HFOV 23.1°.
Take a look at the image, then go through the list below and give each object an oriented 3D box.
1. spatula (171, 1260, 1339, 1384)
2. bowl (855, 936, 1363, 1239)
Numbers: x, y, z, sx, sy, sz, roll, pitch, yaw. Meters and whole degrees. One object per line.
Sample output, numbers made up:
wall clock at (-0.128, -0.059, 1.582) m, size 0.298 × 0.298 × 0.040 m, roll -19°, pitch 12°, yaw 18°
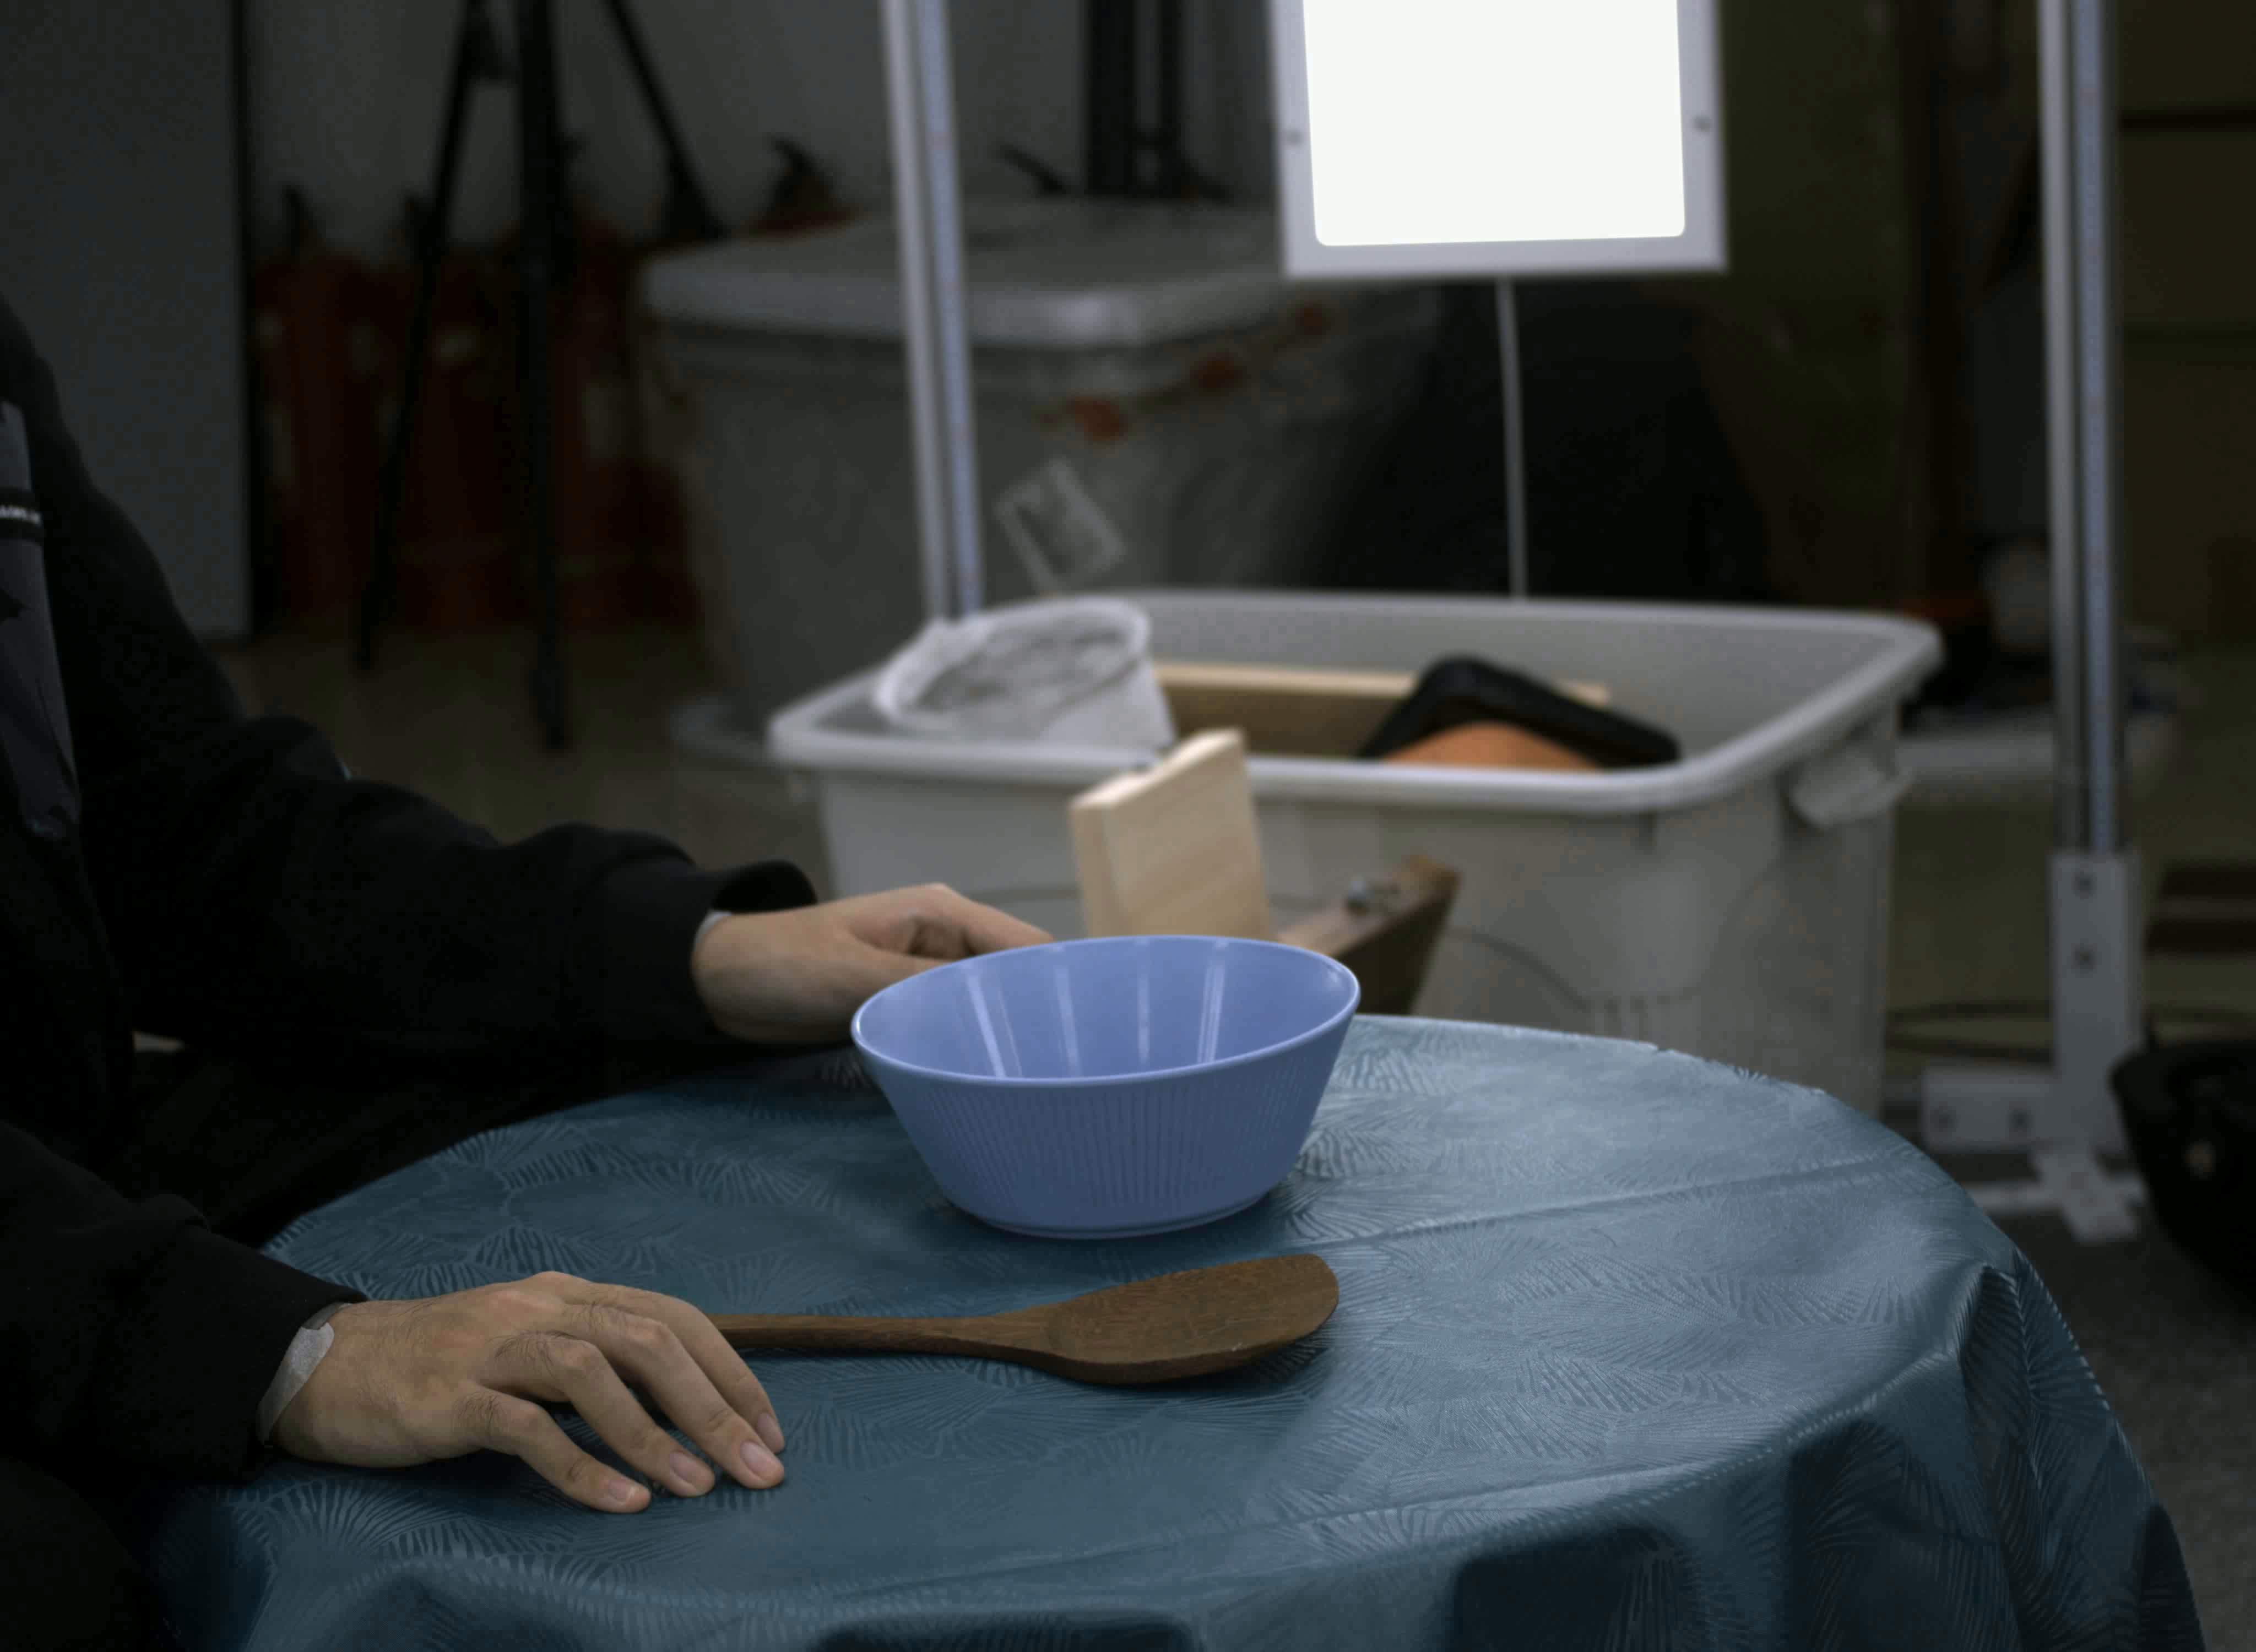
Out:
spatula at (-0.123, 0.162, 1.768) m, size 0.389 × 0.016 × 0.095 m, roll -2°, pitch 14°, yaw 12°
bowl at (-0.004, 0.093, 1.892) m, size 0.175 × 0.070 × 0.176 m, roll -6°, pitch 13°, yaw 0°
